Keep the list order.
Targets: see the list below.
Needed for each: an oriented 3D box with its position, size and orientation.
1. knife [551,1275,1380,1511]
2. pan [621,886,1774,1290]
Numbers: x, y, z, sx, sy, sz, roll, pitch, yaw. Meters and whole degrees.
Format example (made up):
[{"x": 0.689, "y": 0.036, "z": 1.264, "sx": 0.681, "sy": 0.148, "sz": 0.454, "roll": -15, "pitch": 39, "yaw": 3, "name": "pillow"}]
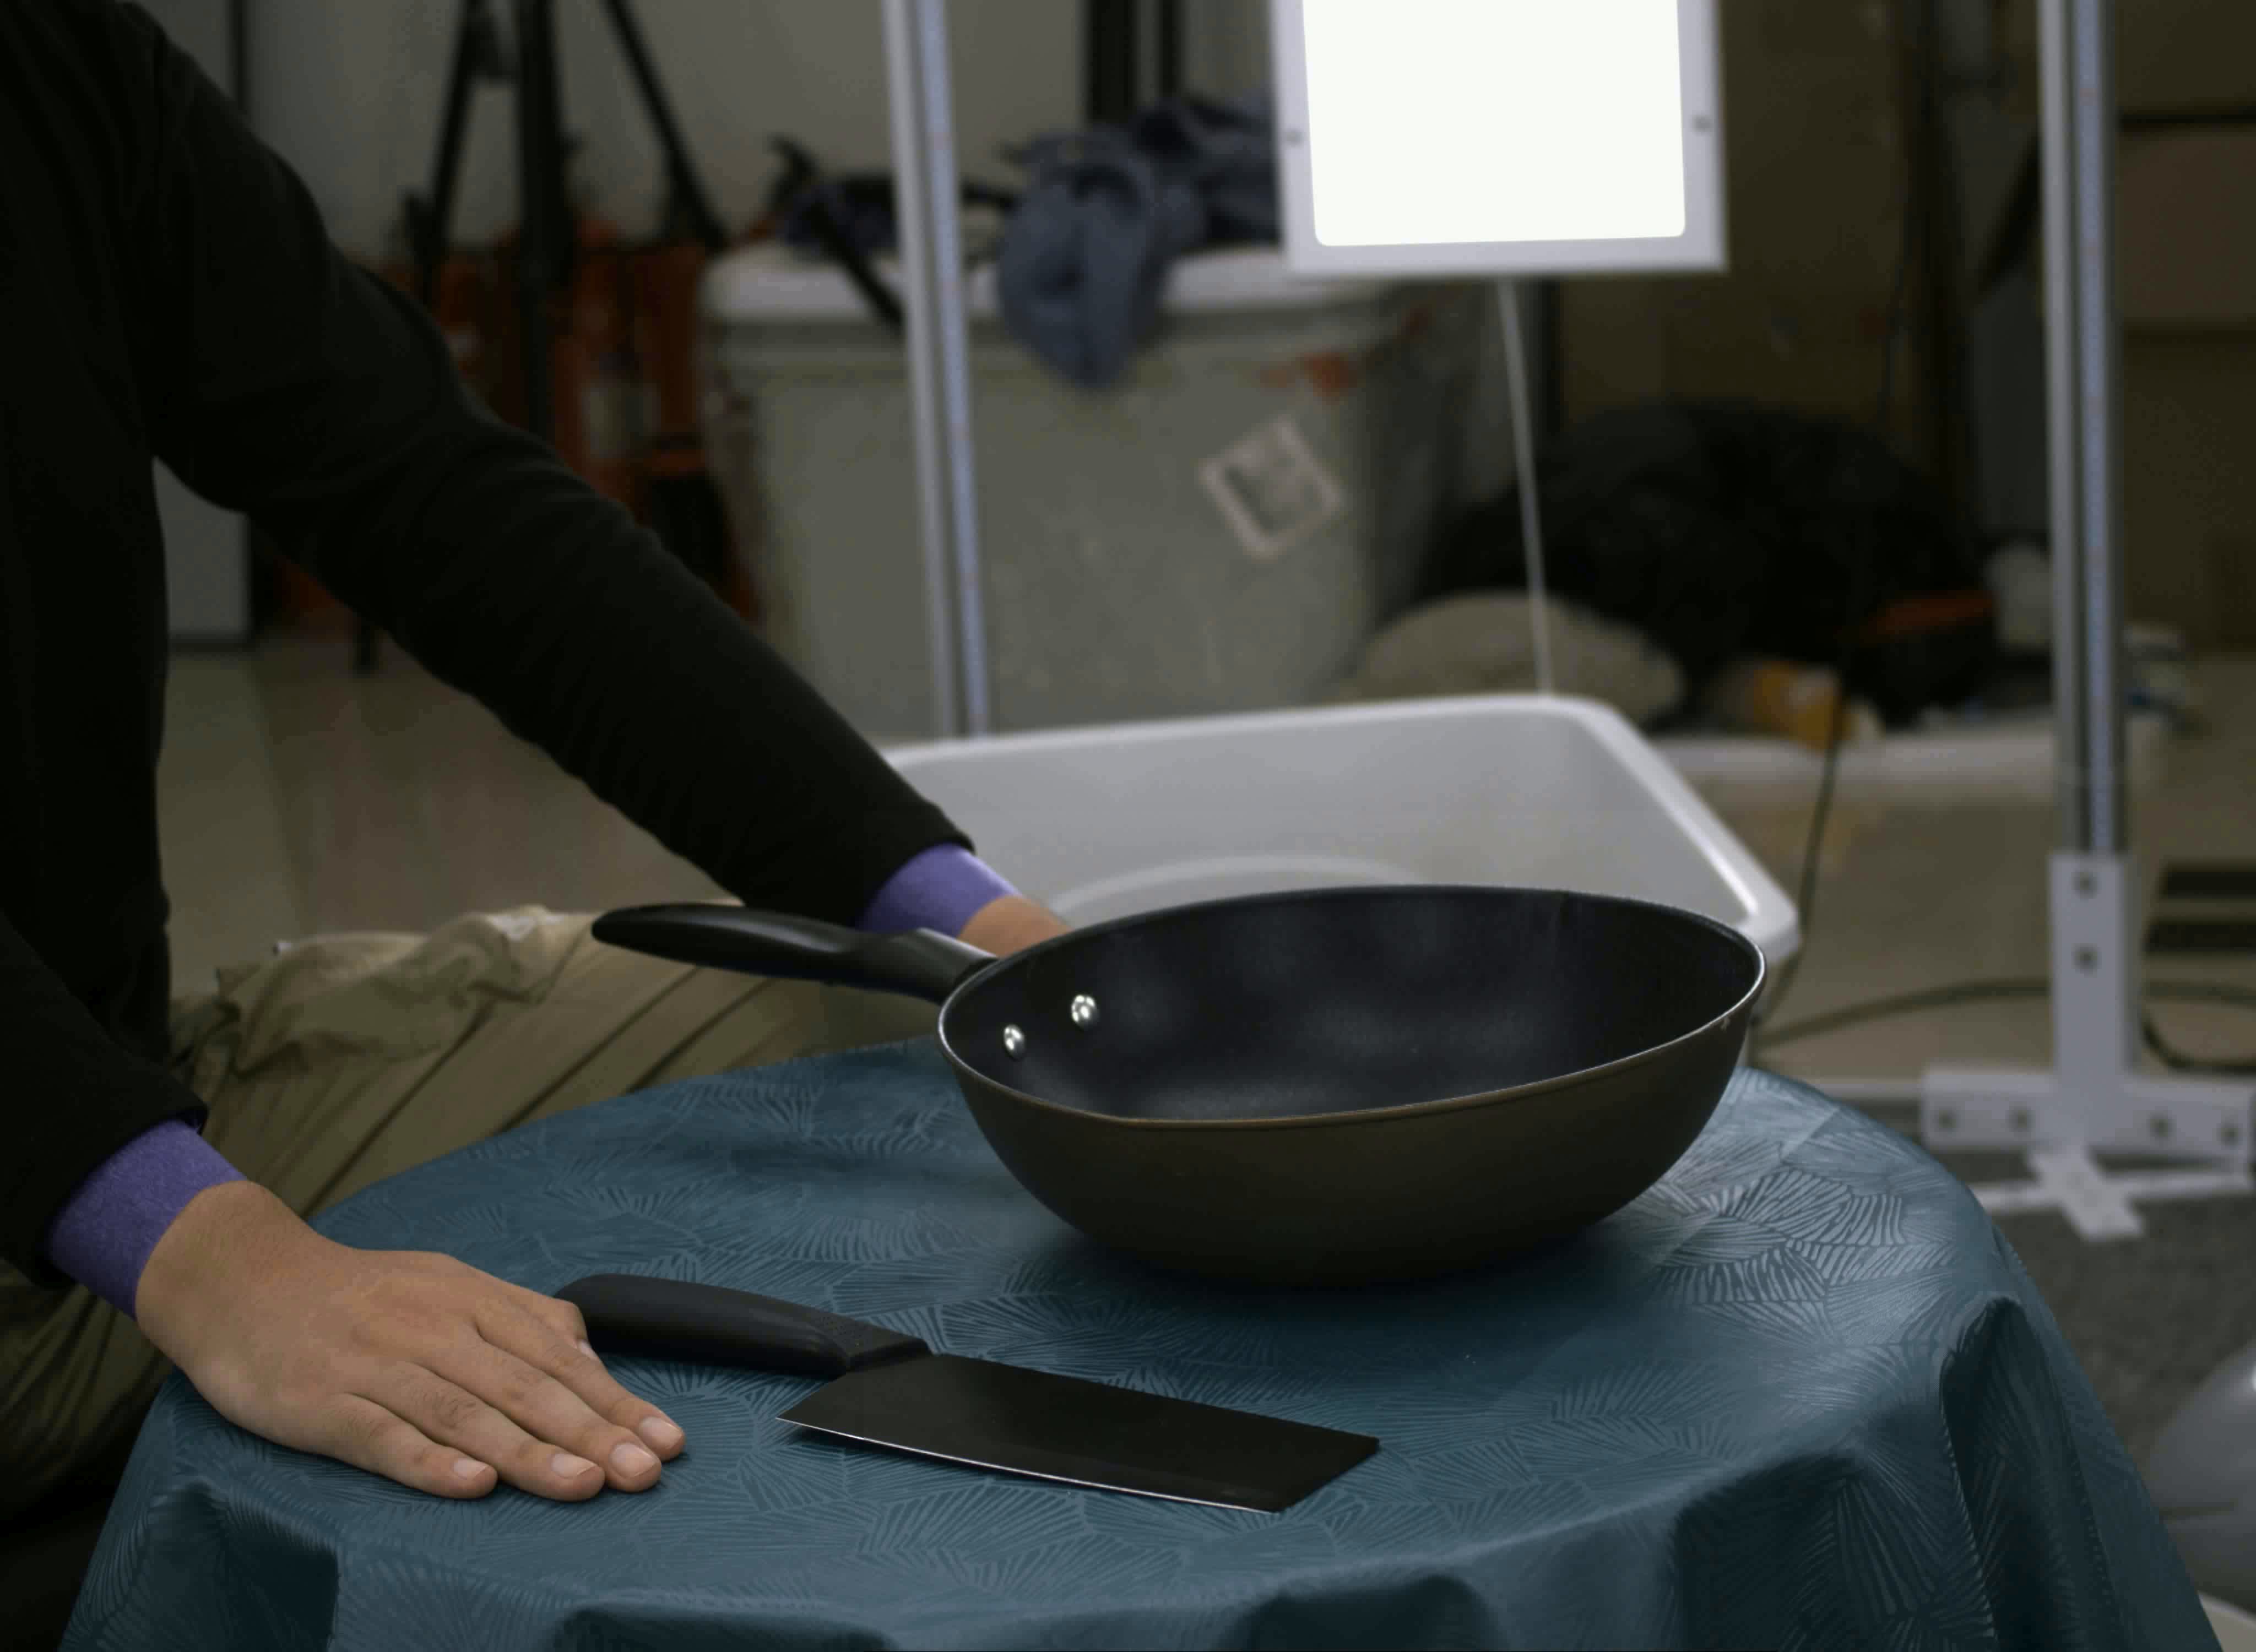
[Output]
[{"x": -0.061, "y": 0.175, "z": 1.700, "sx": 0.309, "sy": 0.021, "sz": 0.079, "roll": 9, "pitch": 21, "yaw": 39, "name": "knife"}, {"x": 0.004, "y": 0.085, "z": 1.892, "sx": 0.473, "sy": 0.087, "sz": 0.281, "roll": 5, "pitch": 17, "yaw": 37, "name": "pan"}]
